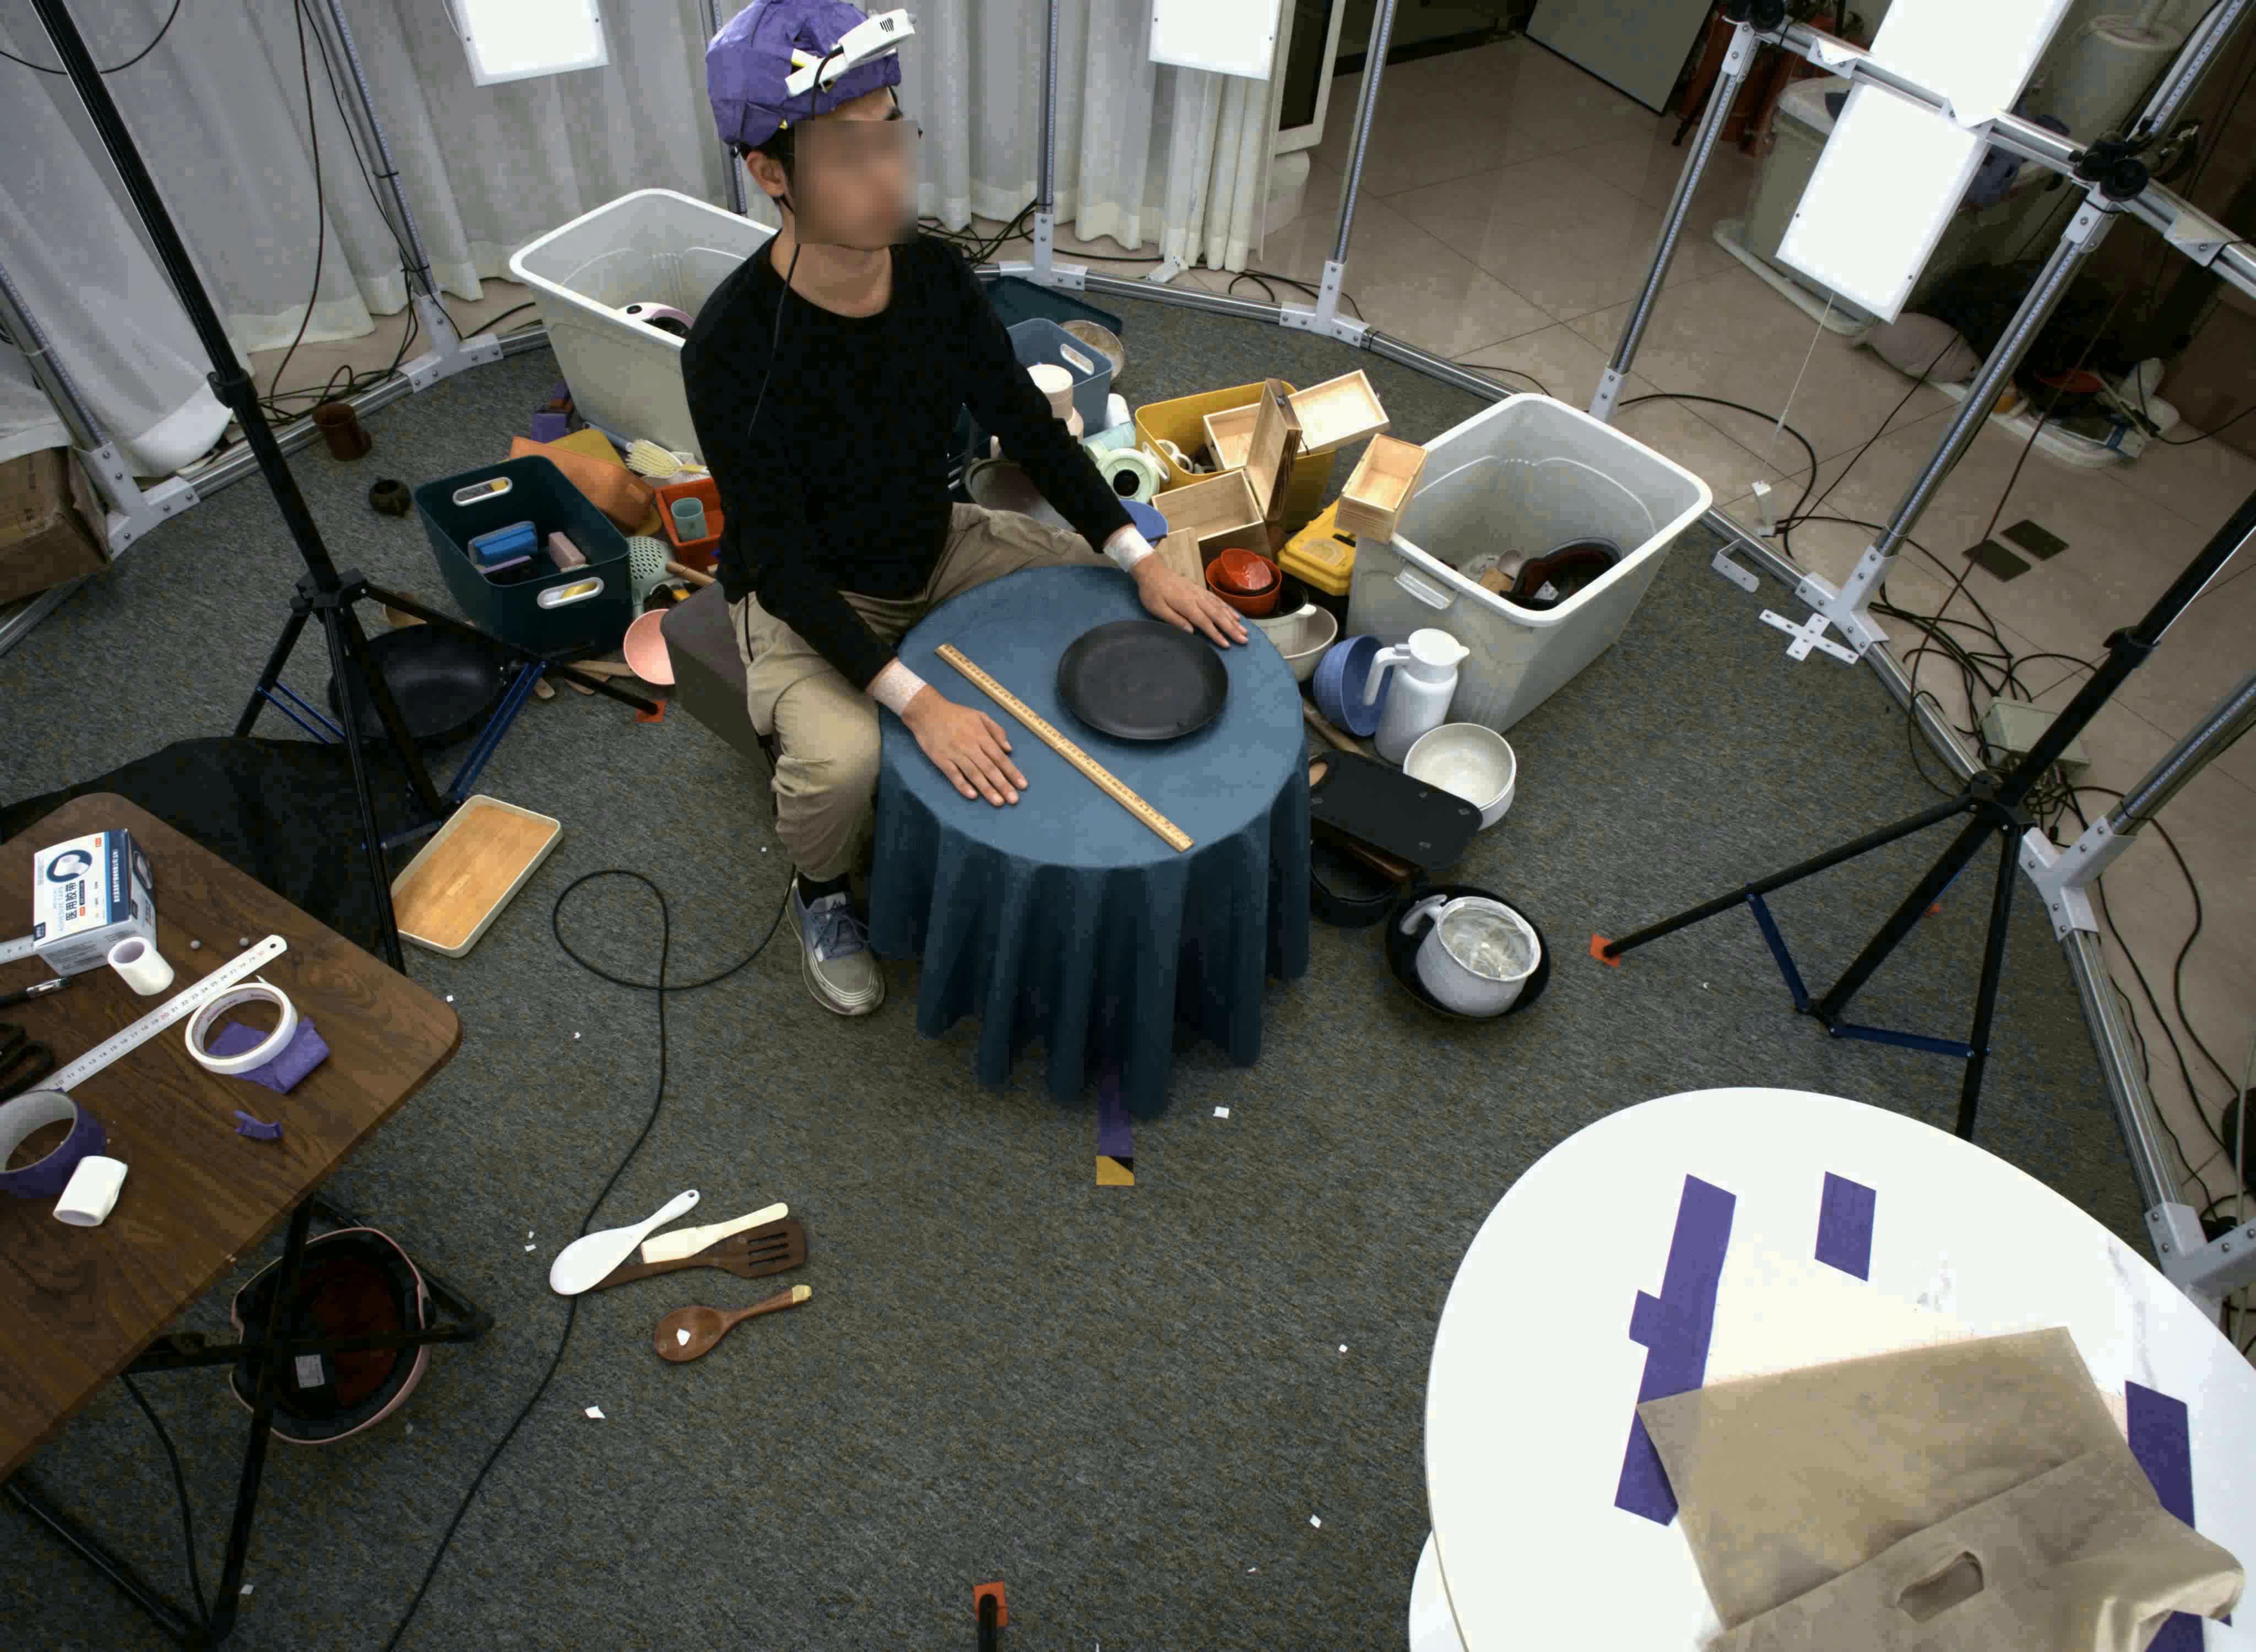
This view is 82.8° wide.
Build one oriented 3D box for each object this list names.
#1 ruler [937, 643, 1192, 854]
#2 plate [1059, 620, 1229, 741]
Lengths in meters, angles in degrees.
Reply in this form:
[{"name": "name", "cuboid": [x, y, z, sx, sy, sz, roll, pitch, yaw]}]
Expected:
[{"name": "ruler", "cuboid": [-0.096, -0.116, 1.761, 0.027, 0.006, 0.508, -33, 58, -30]}, {"name": "plate", "cuboid": [0.022, -0.206, 1.835, 0.244, 0.023, 0.250, 2, 49, -2]}]
